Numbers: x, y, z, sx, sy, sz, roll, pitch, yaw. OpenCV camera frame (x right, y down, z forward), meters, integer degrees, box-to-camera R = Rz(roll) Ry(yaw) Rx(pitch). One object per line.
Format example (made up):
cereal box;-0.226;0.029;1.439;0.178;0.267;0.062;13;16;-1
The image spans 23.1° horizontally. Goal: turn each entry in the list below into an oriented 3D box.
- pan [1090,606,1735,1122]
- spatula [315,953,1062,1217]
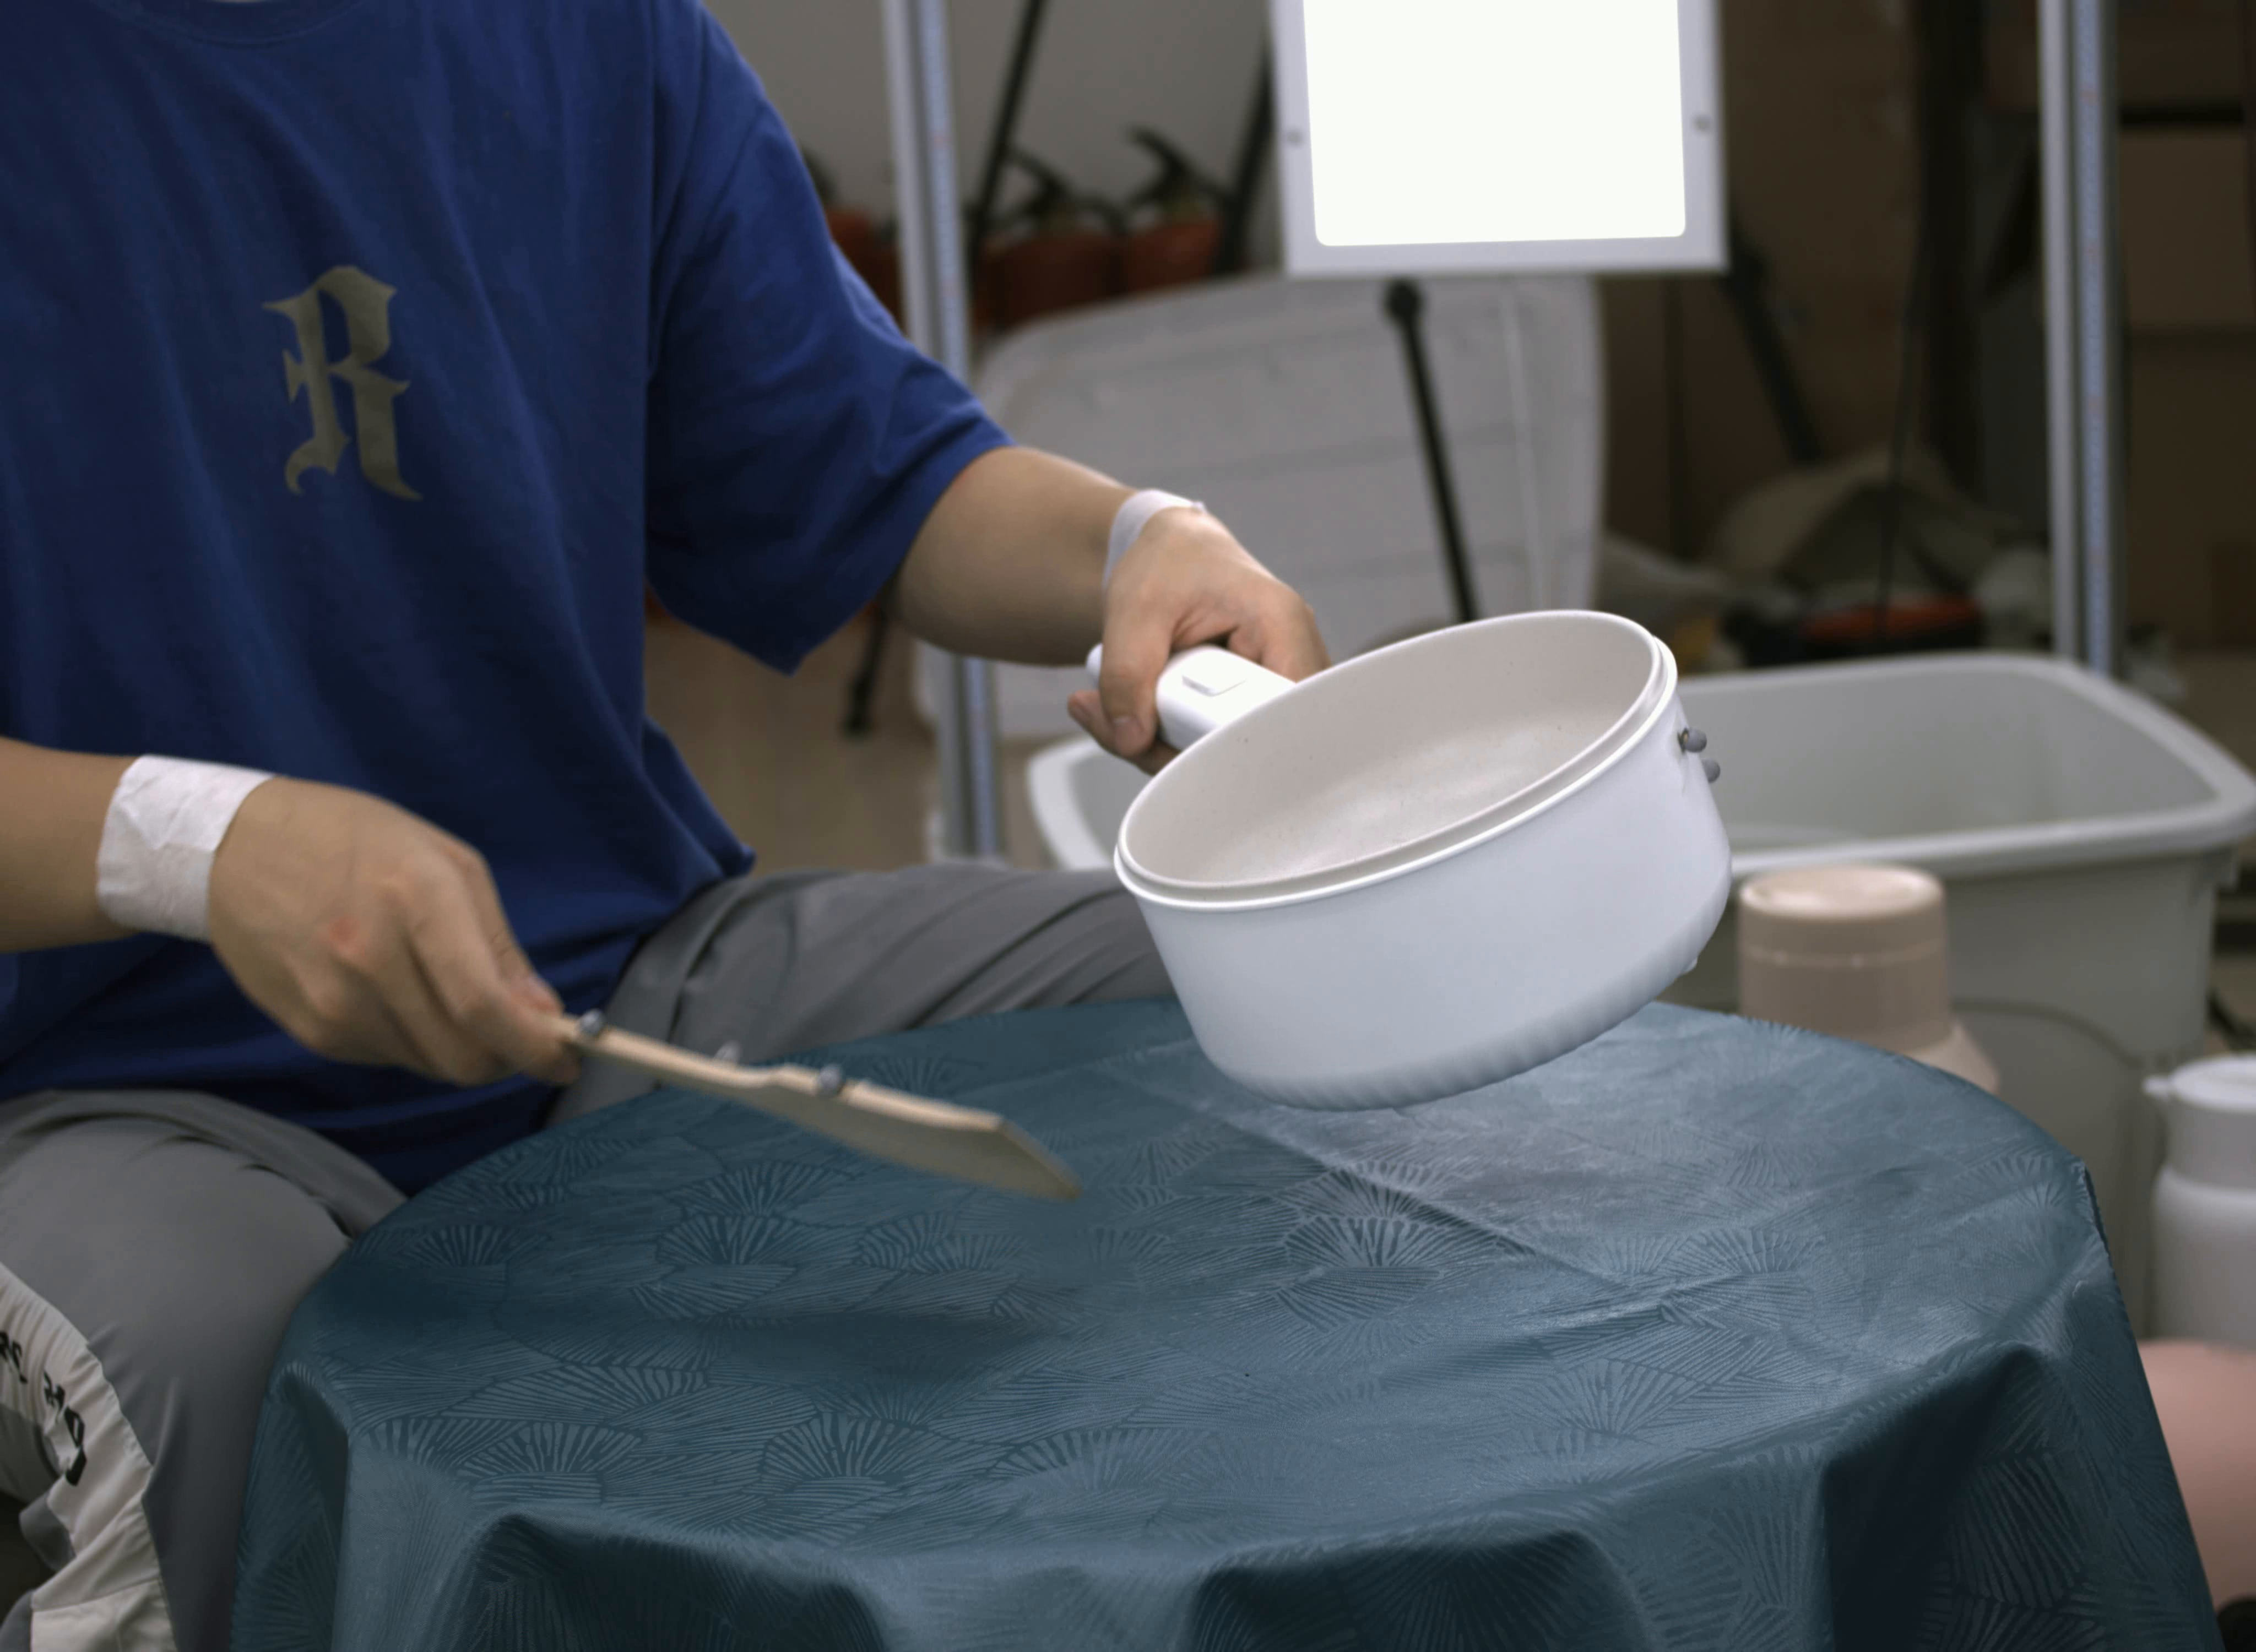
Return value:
pan;0.079;0.002;1.935;0.199;0.102;0.359;-30;20;-13
spatula;-0.155;0.081;1.823;0.298;0.010;0.071;15;-16;32
